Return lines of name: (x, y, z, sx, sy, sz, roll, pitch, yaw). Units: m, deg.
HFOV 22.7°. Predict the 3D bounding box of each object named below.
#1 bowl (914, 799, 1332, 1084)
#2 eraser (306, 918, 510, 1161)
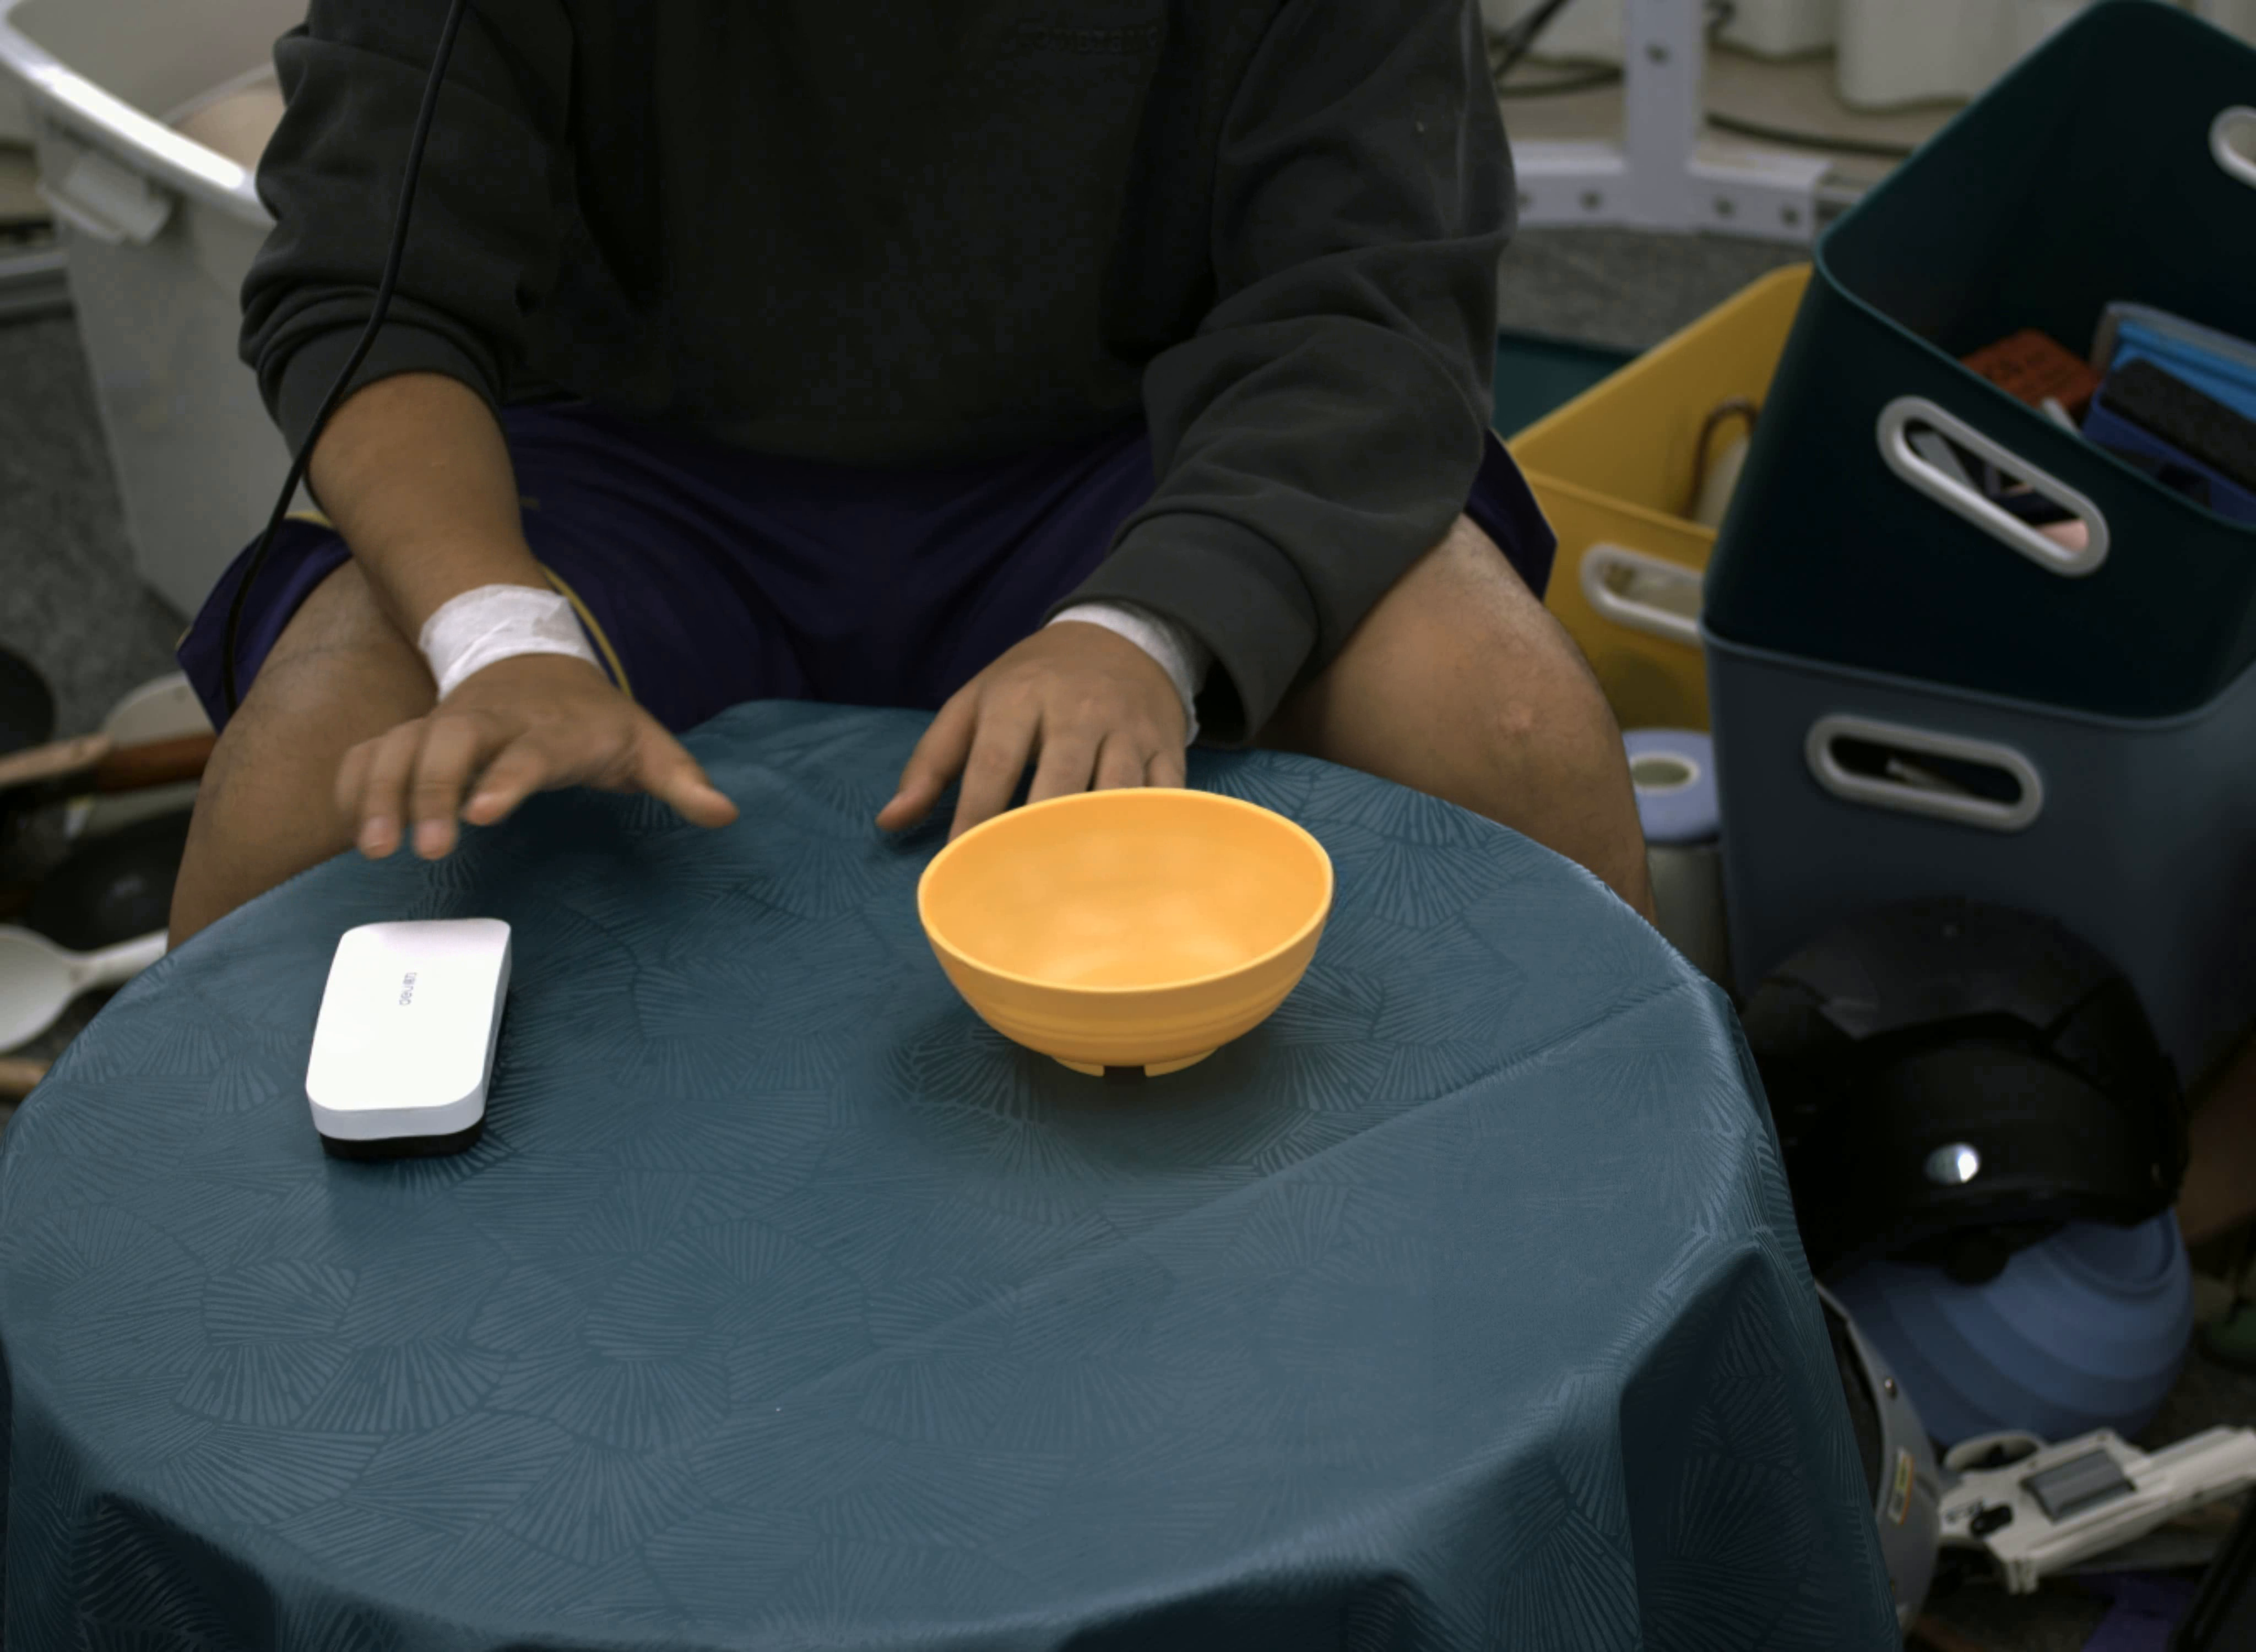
bowl: (-0.001, 0.048, 1.945, 0.144, 0.059, 0.147, -2, 25, 1)
eraser: (-0.247, 0.071, 1.951, 0.063, 0.034, 0.133, -2, 28, 1)
